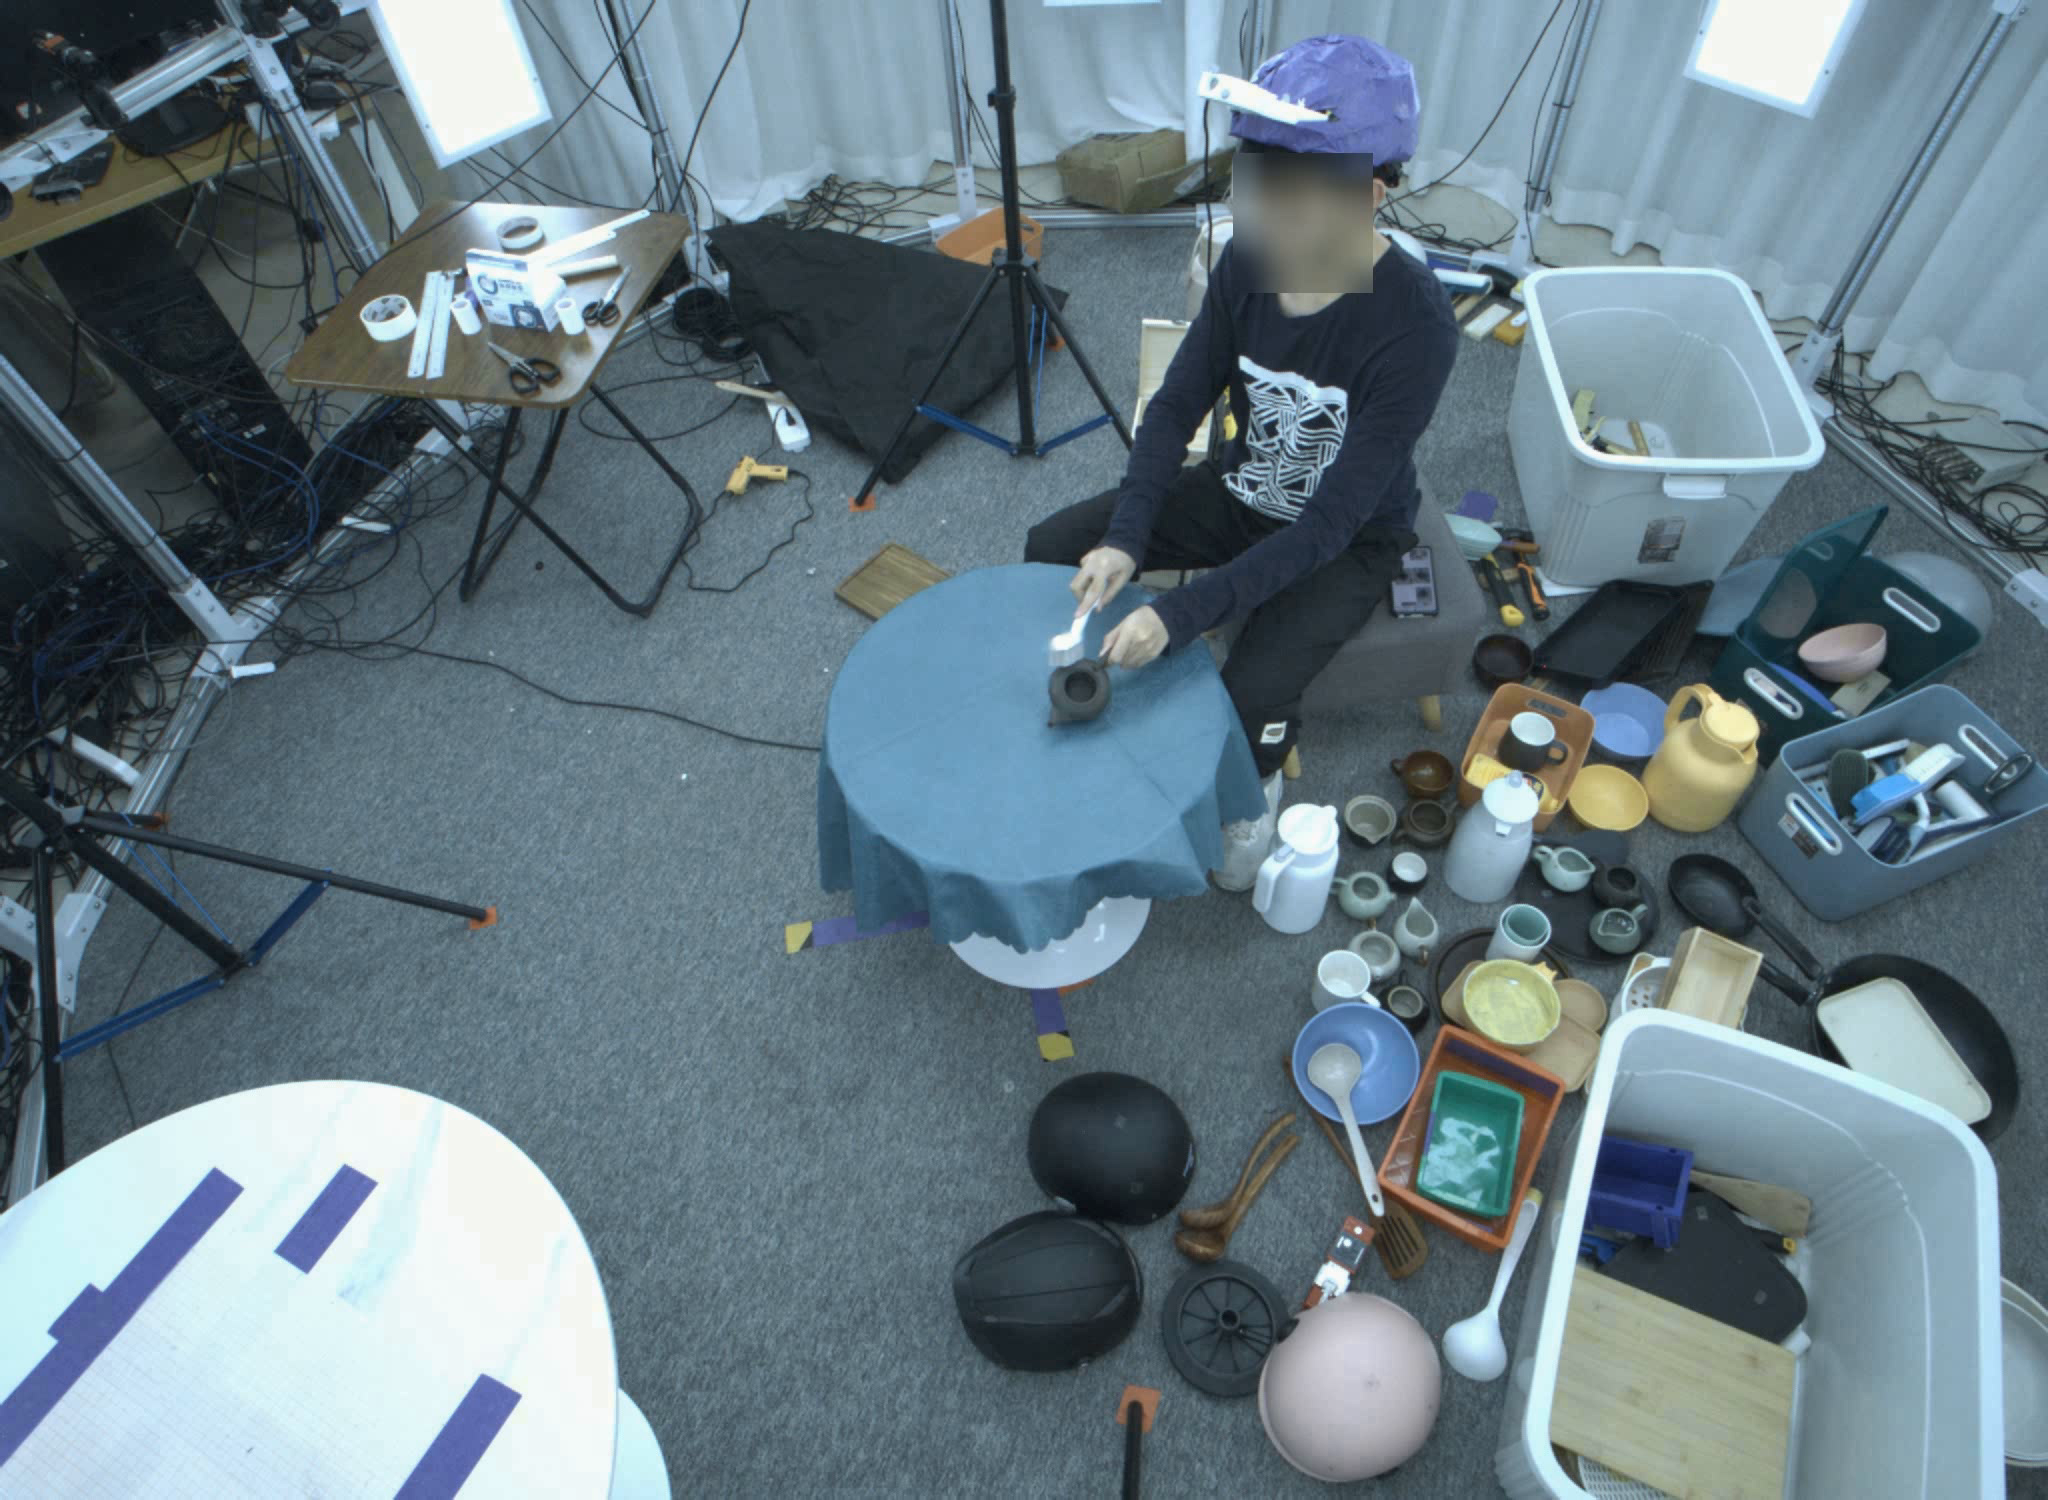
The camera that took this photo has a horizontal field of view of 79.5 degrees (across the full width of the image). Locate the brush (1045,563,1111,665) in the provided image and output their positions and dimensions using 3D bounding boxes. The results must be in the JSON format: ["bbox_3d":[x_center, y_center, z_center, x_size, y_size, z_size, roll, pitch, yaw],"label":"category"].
[{"bbox_3d":[0.090,-0.201,1.830,0.034,0.051,0.244,-6,34,31],"label":"brush"}]

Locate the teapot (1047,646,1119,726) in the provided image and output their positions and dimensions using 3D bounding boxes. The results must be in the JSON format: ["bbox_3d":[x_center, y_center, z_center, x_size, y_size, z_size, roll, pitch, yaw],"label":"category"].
[{"bbox_3d":[0.085,-0.091,1.794,0.092,0.064,0.154,41,85,2],"label":"teapot"}]
